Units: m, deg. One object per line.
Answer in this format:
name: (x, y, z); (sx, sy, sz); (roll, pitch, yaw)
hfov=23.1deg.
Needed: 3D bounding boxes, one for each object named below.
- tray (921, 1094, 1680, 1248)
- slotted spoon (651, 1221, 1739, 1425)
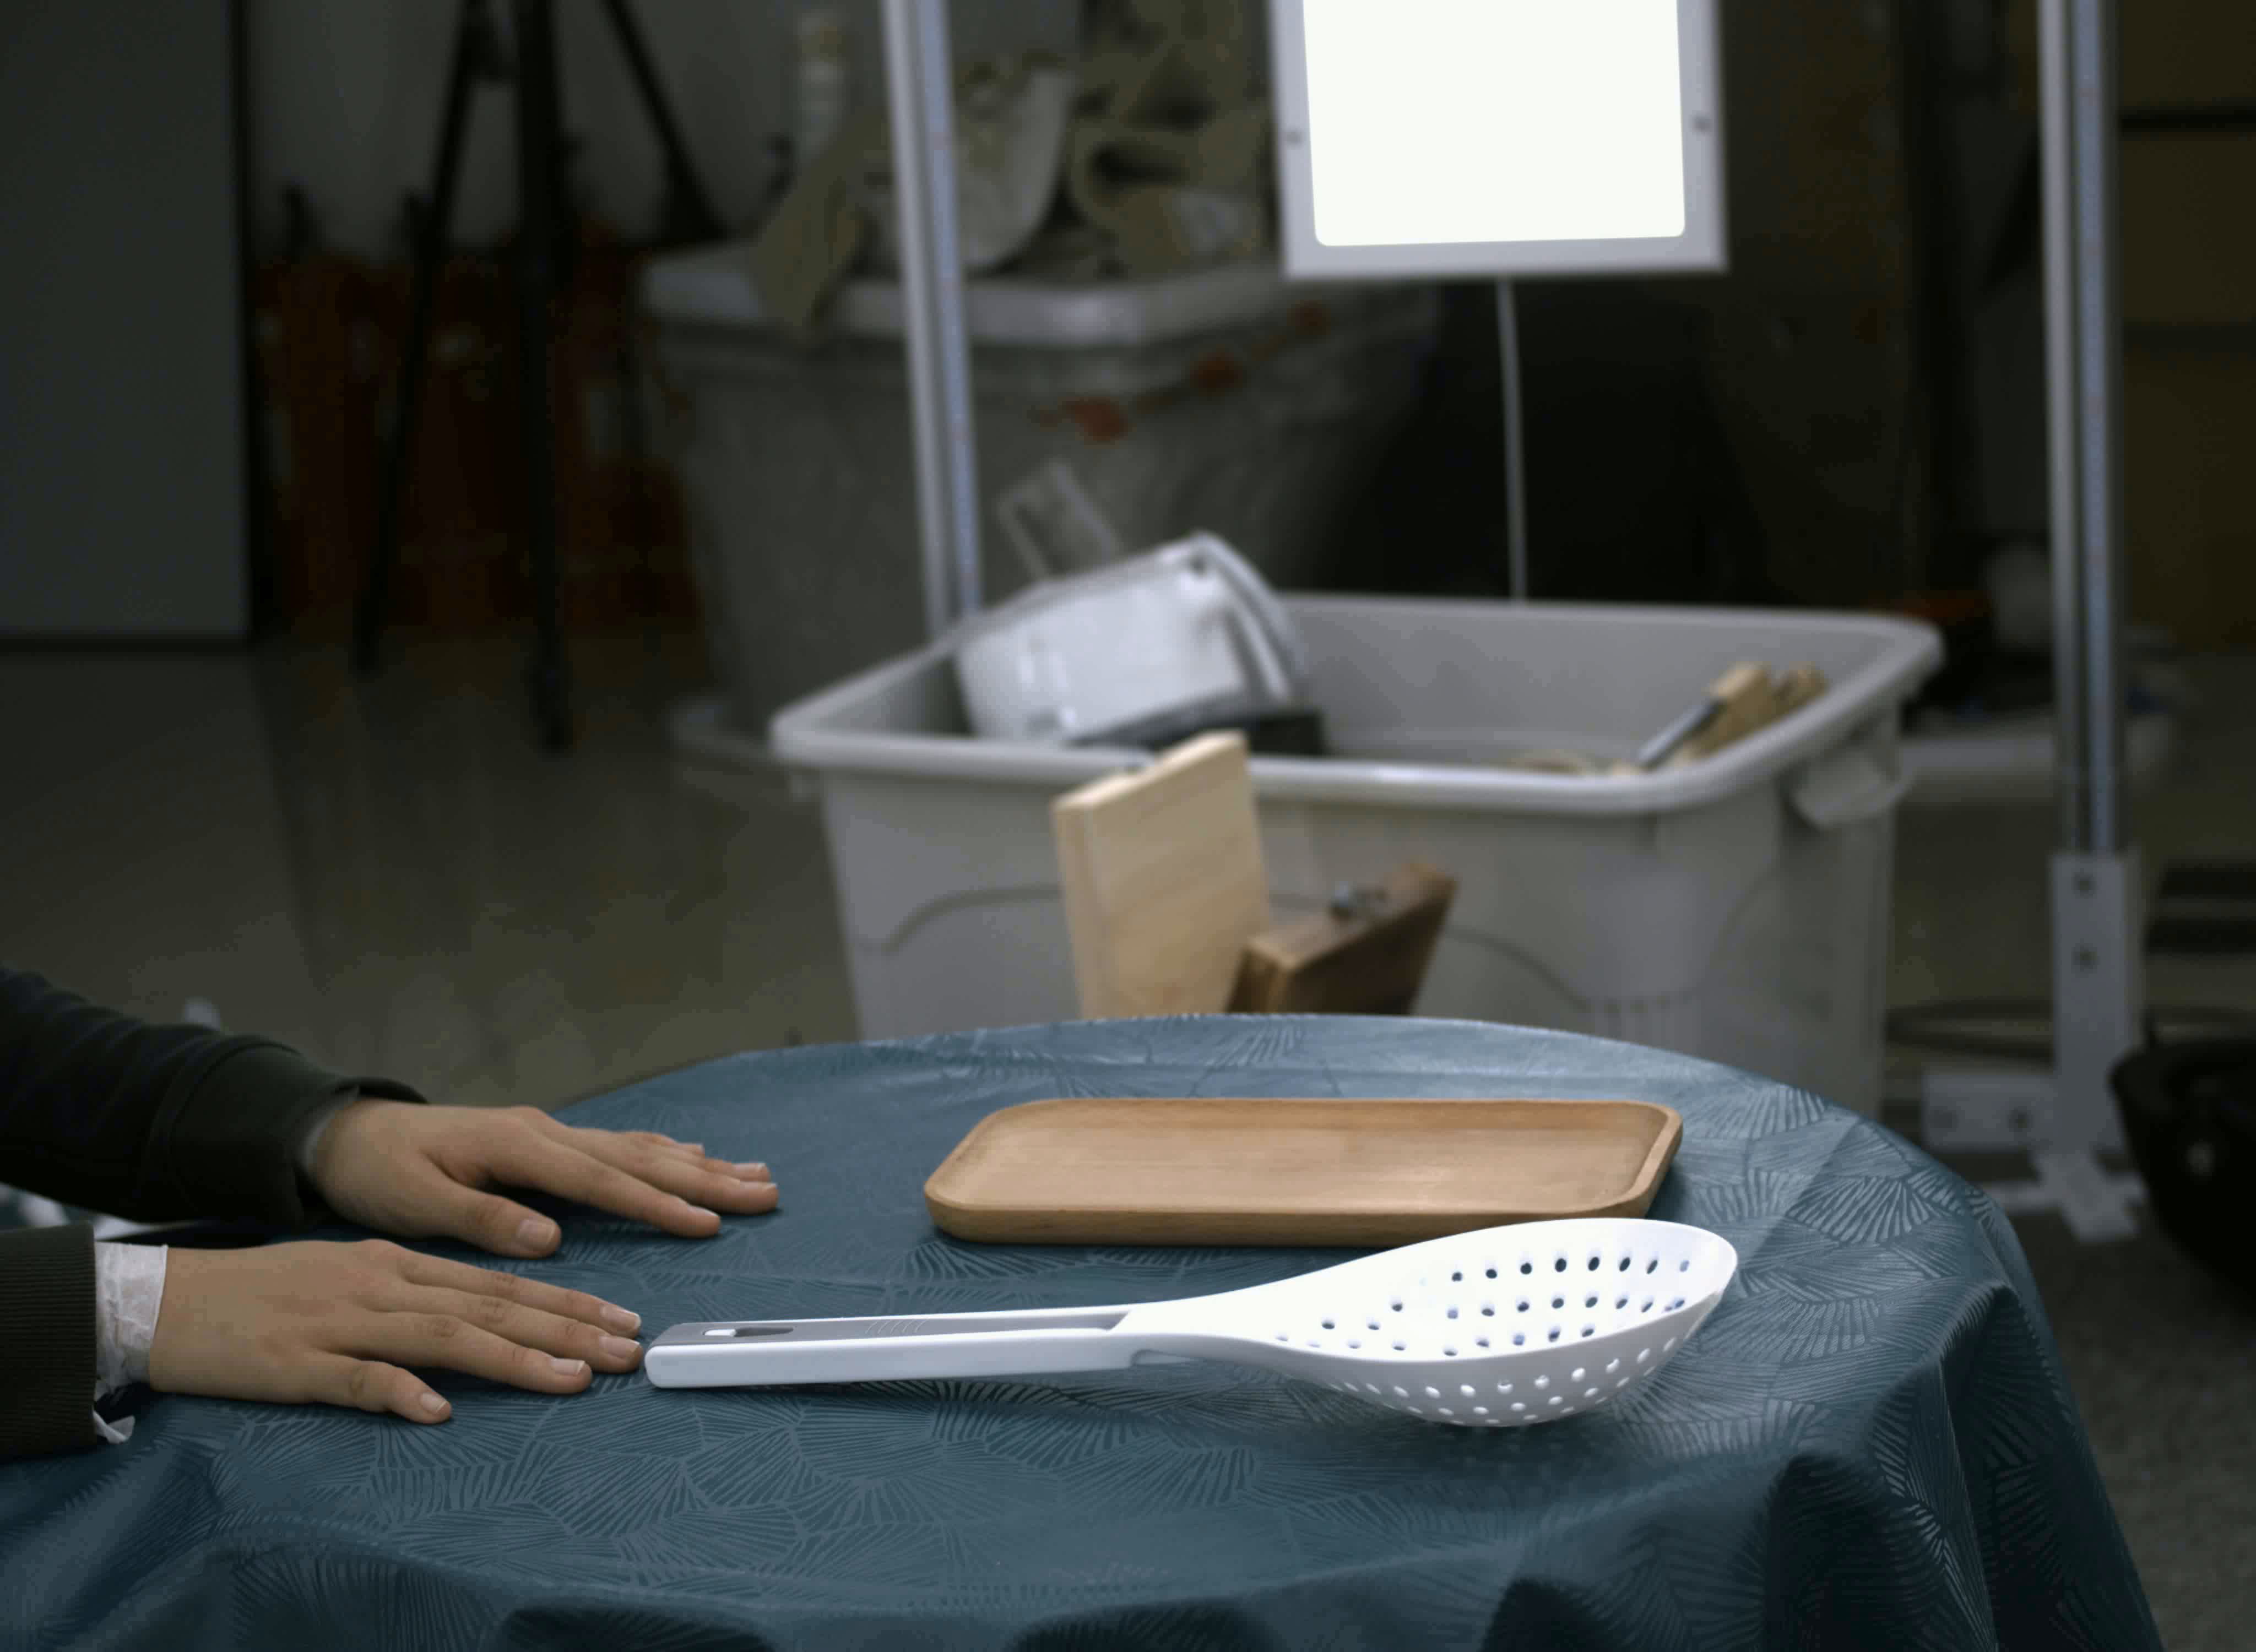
tray: (0.060, 0.117, 1.878); (0.253, 0.023, 0.128); (-2, 12, 17)
slotted spoon: (0.016, 0.154, 1.684); (0.354, 0.046, 0.133); (-1, 12, 21)
